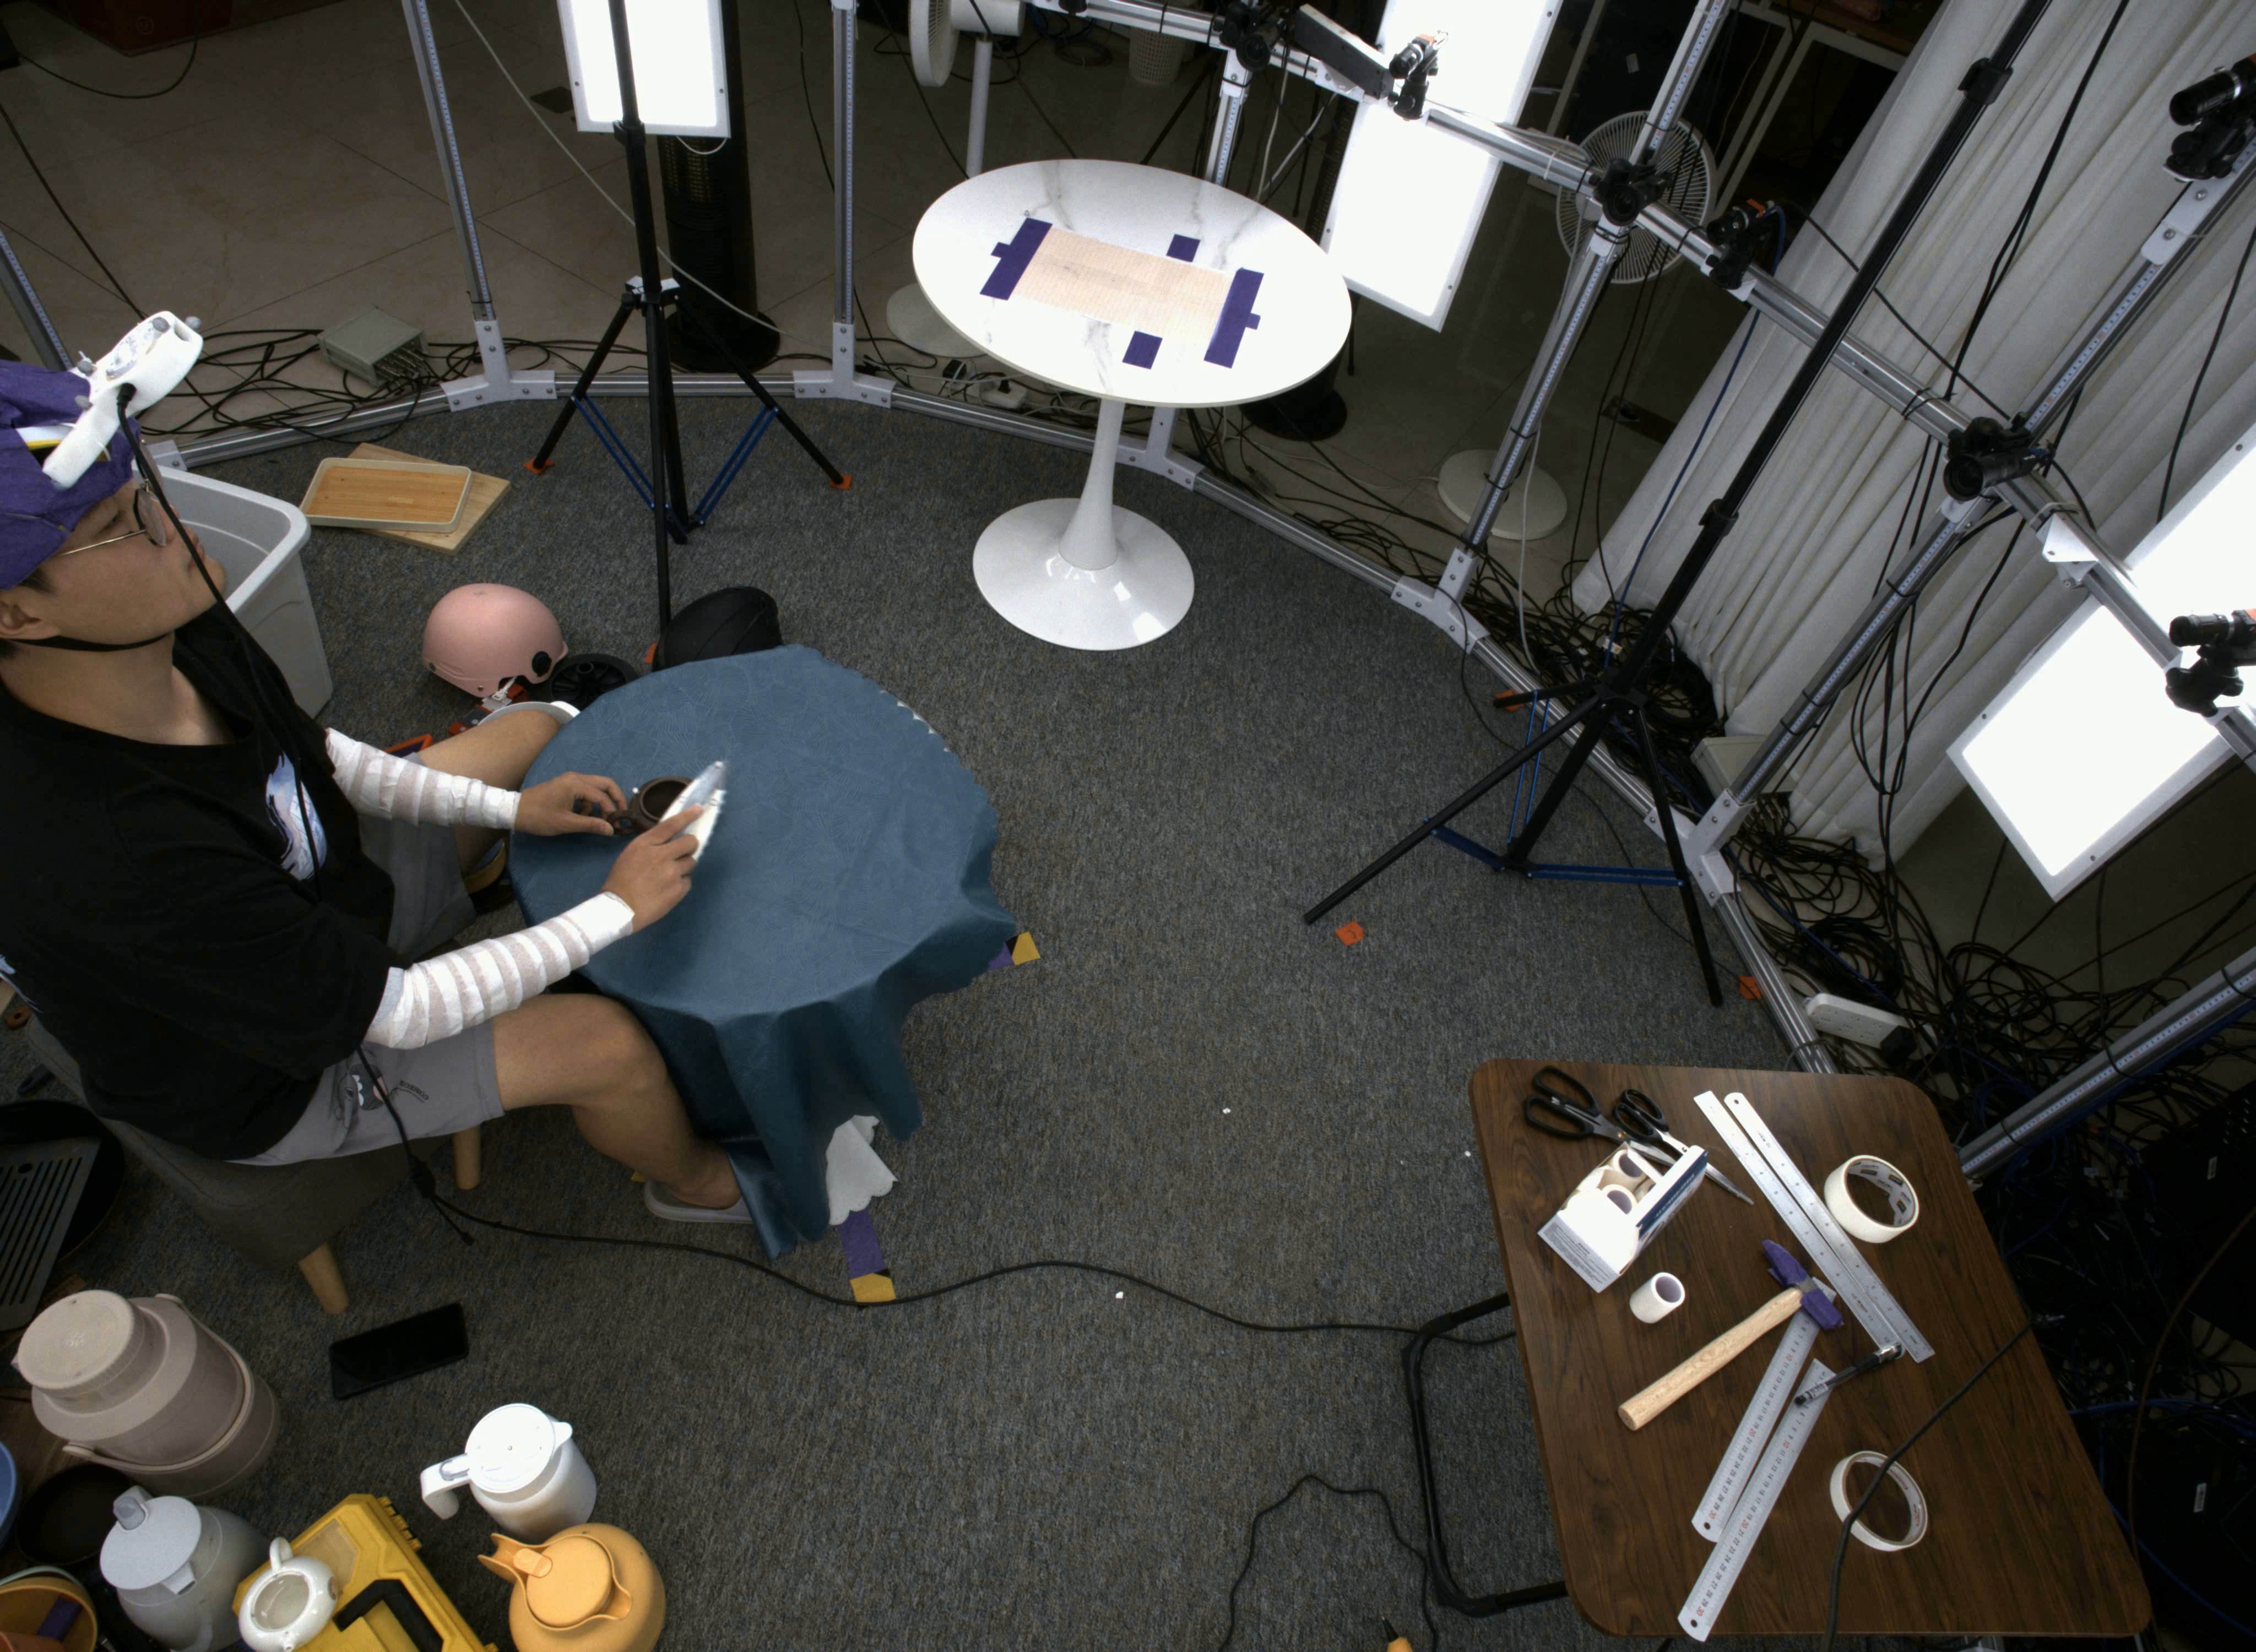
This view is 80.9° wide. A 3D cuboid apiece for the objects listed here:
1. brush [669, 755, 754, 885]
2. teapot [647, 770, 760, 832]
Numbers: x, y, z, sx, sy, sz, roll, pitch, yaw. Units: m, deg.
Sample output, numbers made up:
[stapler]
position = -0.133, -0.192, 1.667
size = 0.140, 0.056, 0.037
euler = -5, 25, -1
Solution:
[brush]
position = -0.509, -0.016, 1.600
size = 0.062, 0.093, 0.176
euler = 29, 80, -13
[teapot]
position = -0.555, -0.029, 1.688
size = 0.154, 0.055, 0.100
euler = -22, 60, -27
